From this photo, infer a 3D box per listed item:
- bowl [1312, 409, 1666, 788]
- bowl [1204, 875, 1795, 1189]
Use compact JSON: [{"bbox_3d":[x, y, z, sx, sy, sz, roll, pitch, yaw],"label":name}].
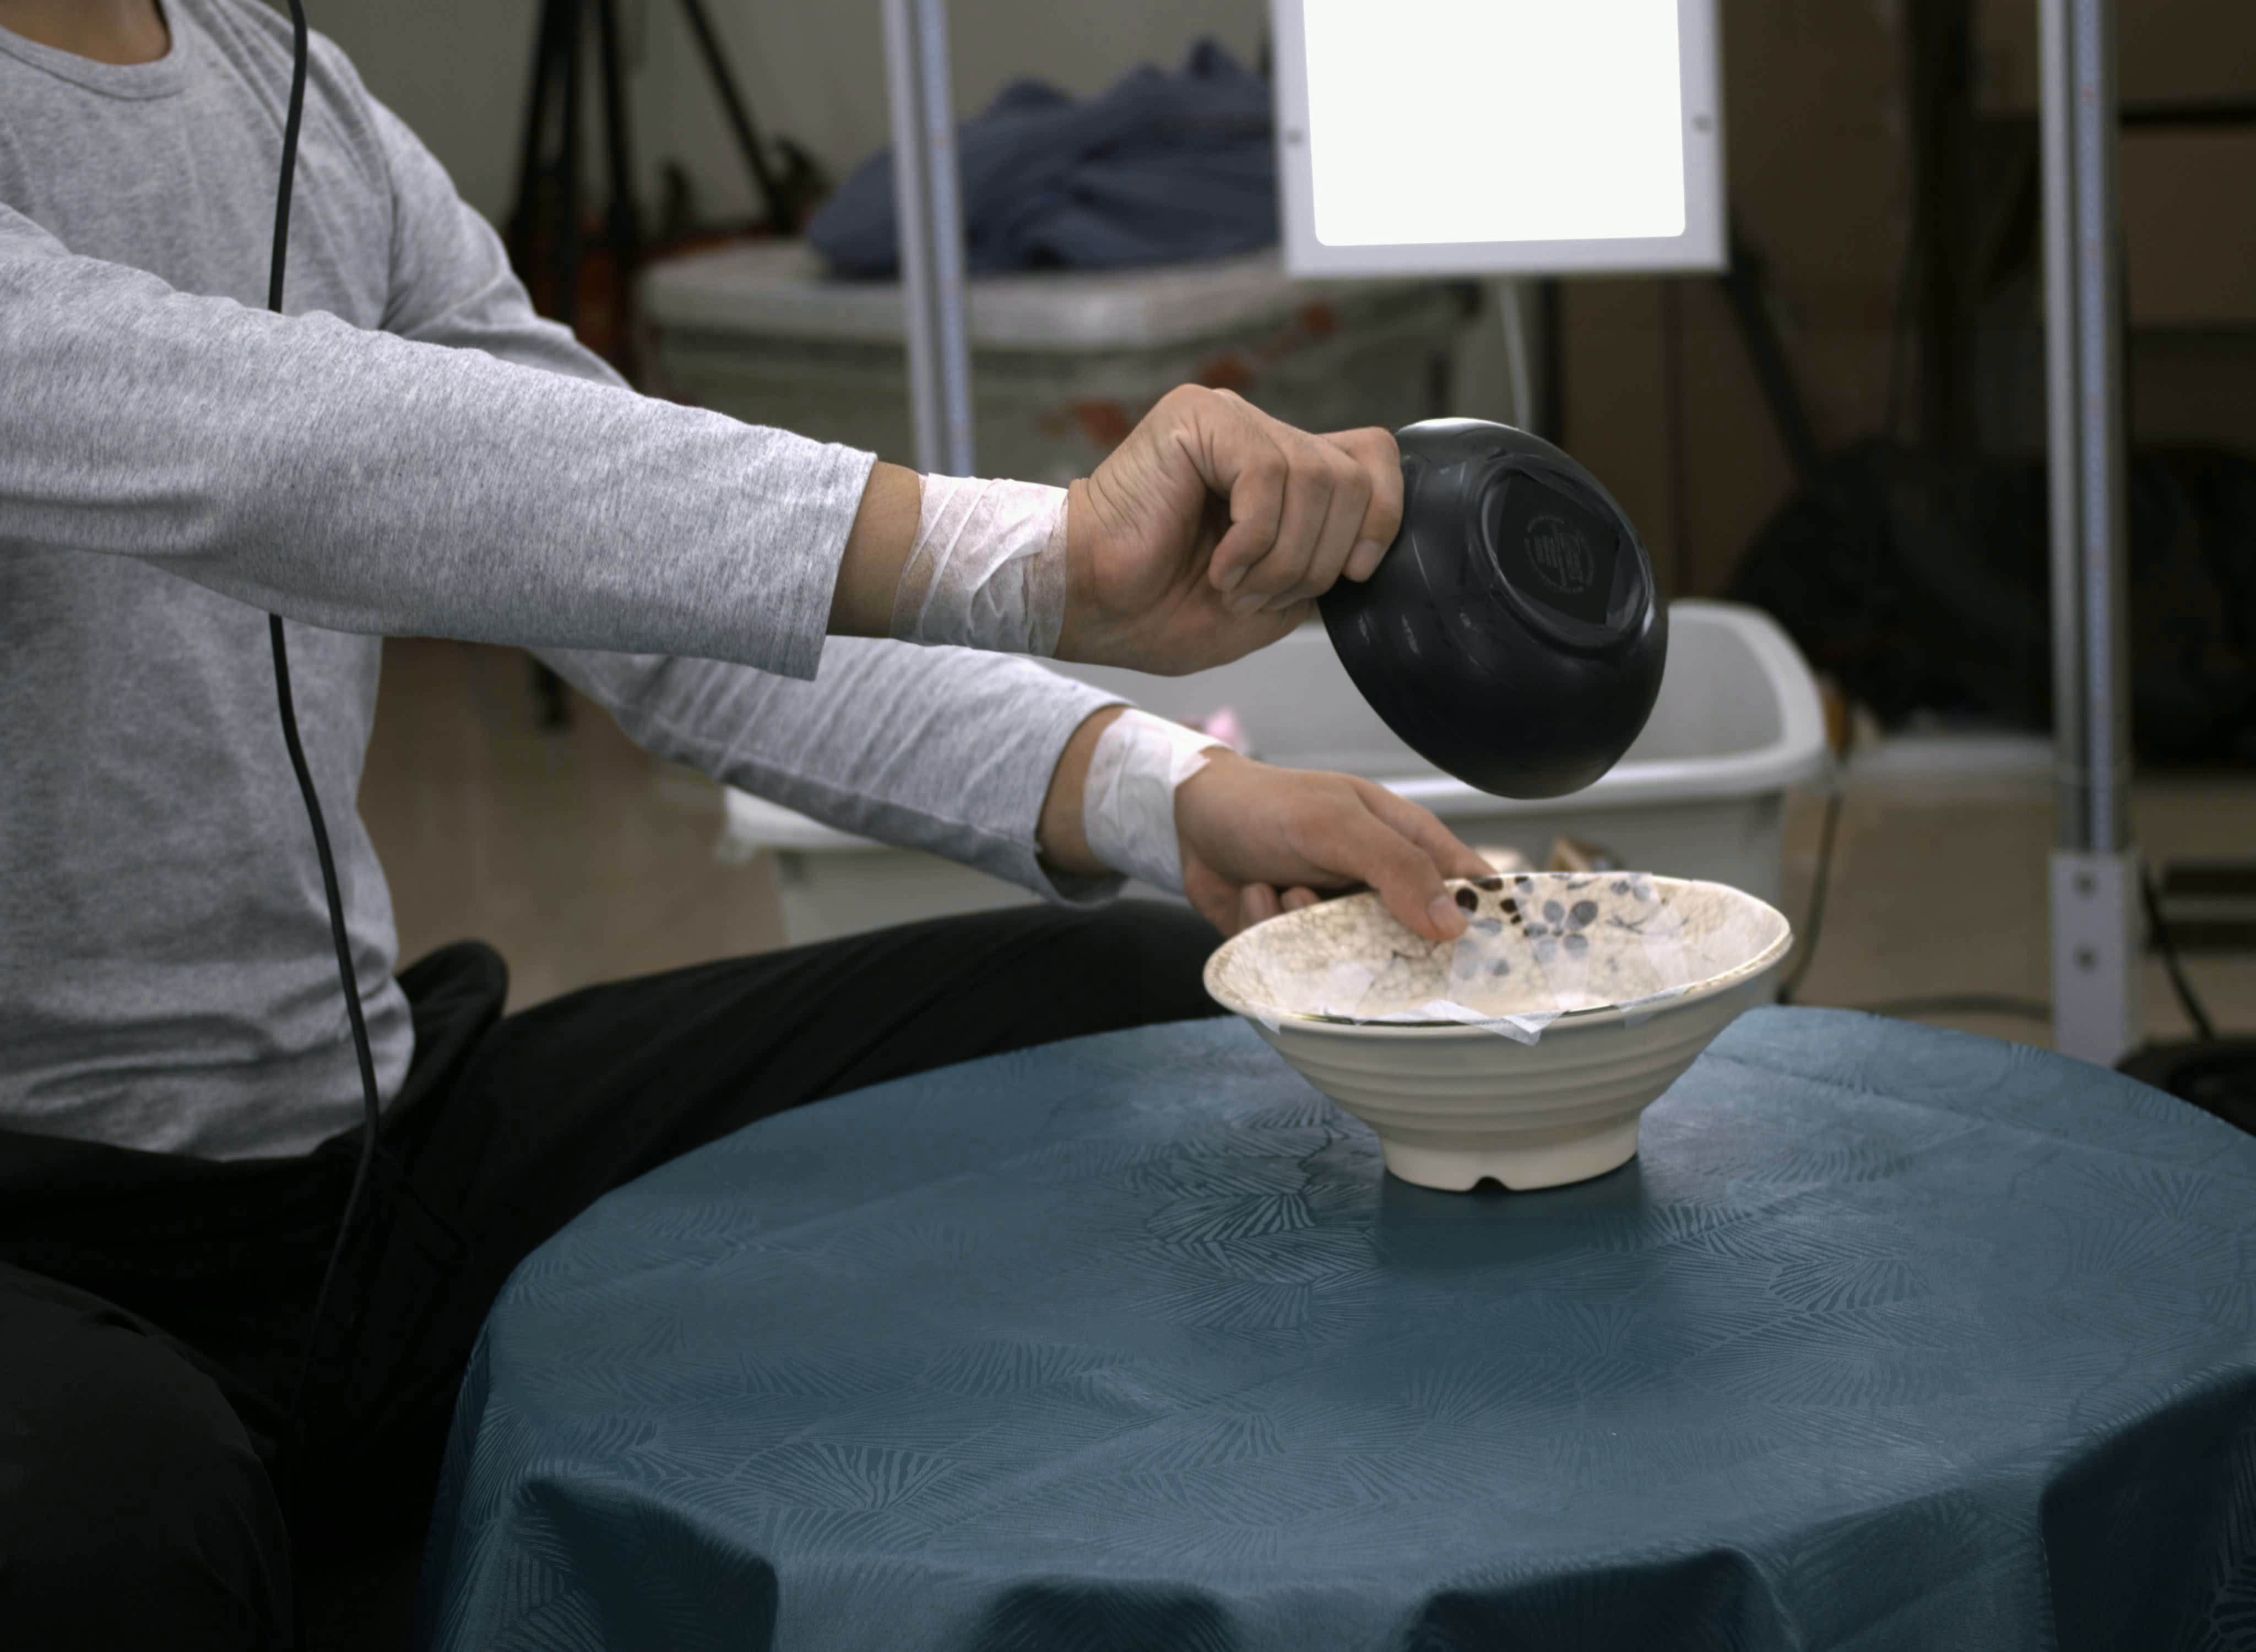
[{"bbox_3d":[0.131,-0.085,1.825,0.136,0.140,0.051,-19,-16,-45],"label":"bowl"},{"bbox_3d":[0.131,0.076,1.892,0.203,0.078,0.204,-6,12,0],"label":"bowl"}]
